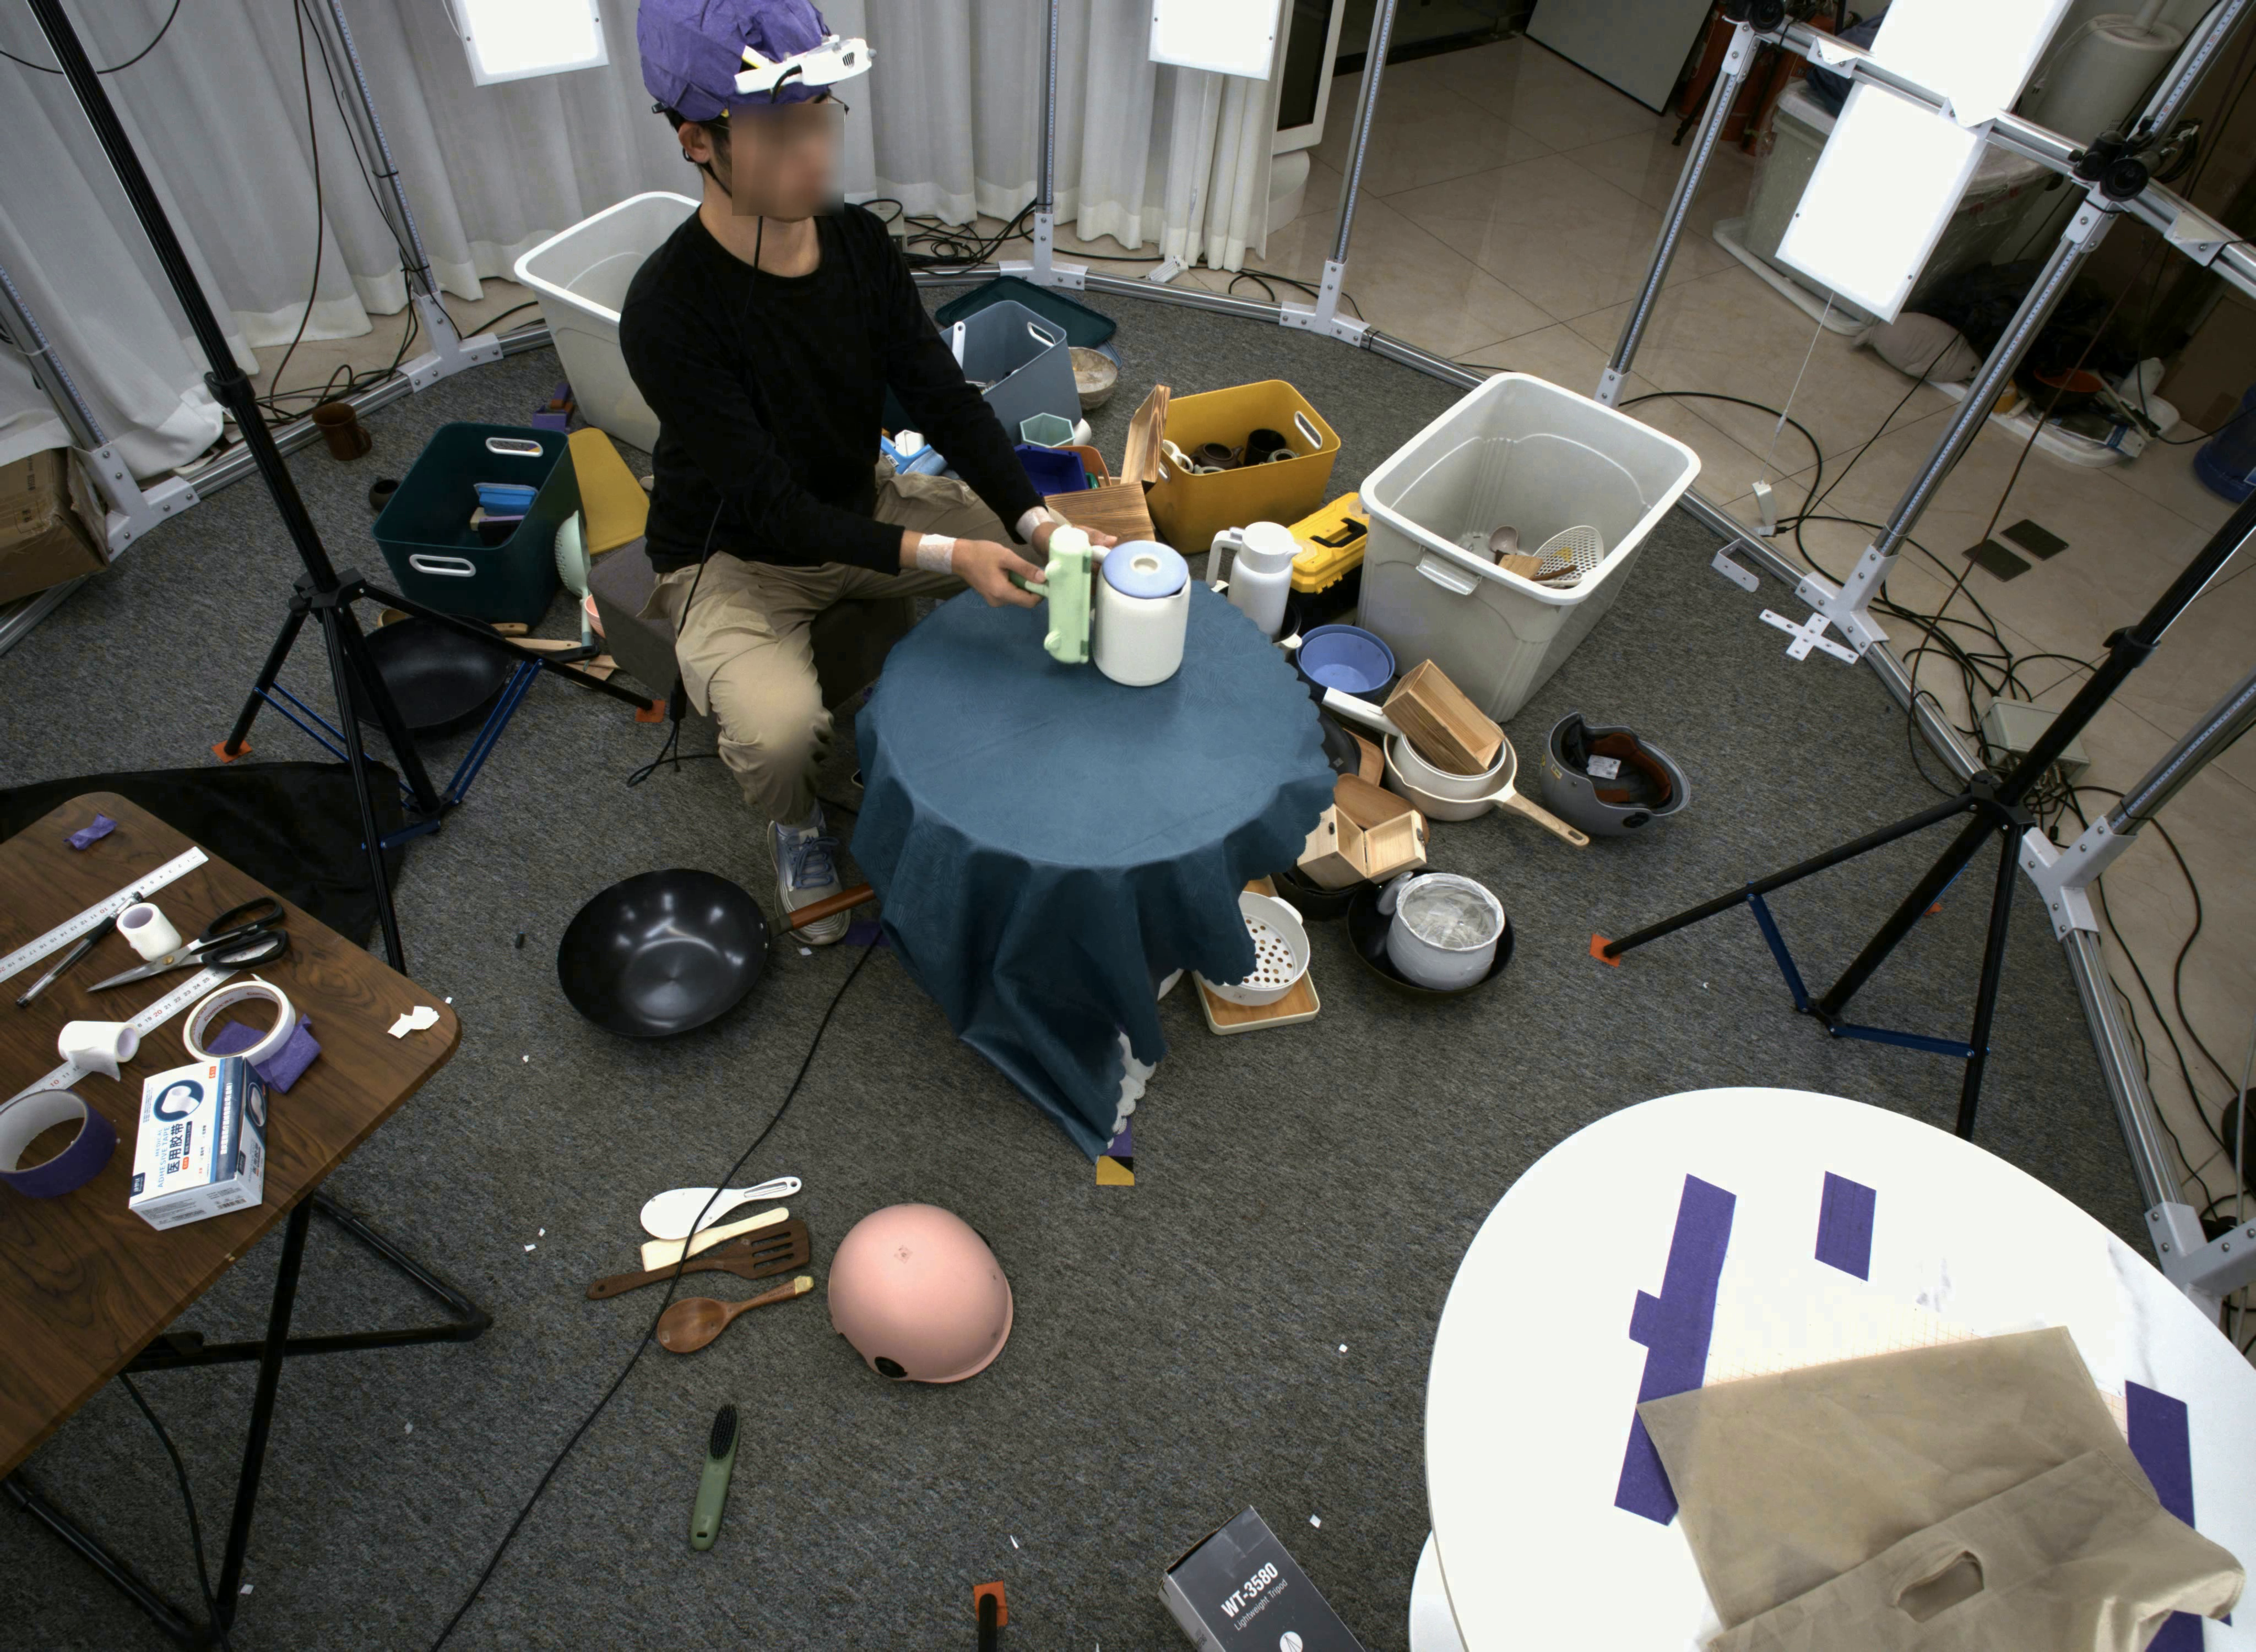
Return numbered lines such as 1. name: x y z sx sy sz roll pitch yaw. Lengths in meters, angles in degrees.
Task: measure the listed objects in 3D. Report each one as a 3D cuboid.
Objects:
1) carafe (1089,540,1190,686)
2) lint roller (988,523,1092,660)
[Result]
1. carafe: 0.000 -0.314 1.832 0.194 0.178 0.133 36 55 26
2. lint roller: -0.131 -0.335 1.793 0.184 0.194 0.083 21 46 18
